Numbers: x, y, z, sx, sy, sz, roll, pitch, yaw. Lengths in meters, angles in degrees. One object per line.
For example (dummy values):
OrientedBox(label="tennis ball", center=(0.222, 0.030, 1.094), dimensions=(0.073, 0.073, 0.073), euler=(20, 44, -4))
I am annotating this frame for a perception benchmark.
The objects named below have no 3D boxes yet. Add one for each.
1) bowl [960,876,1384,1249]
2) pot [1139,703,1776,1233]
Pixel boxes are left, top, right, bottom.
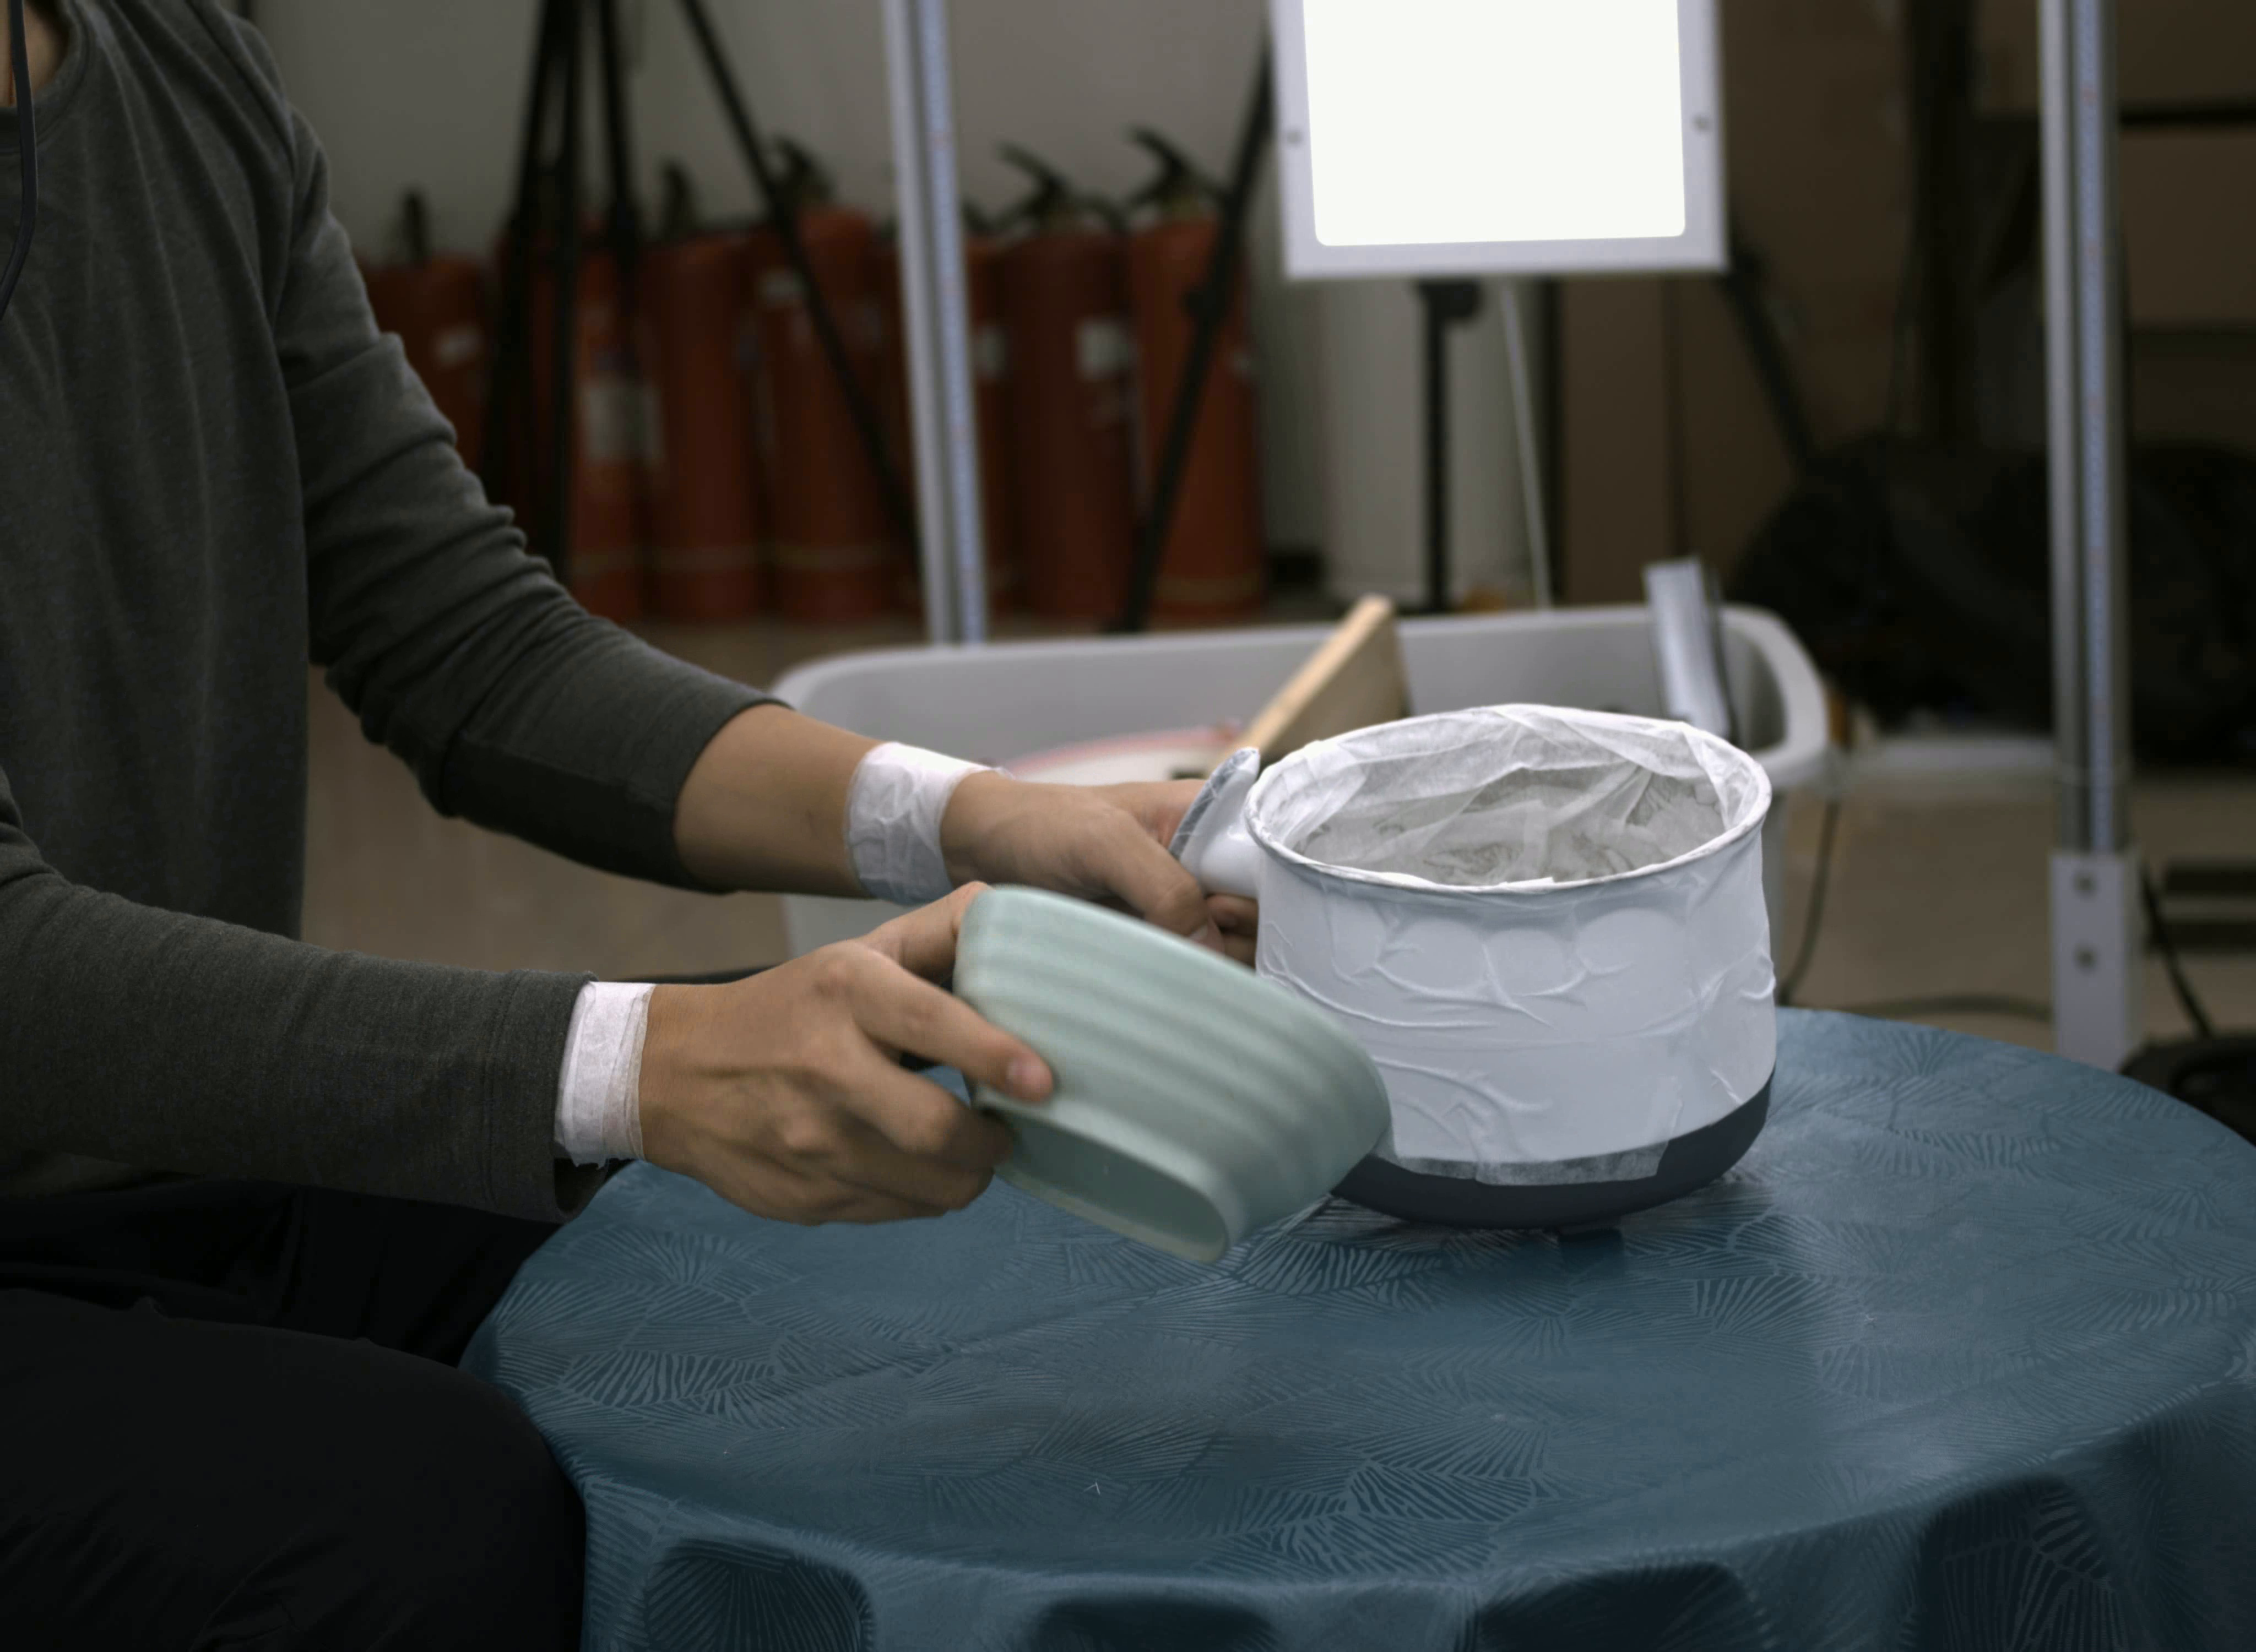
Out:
OrientedBox(label="bowl", center=(0.003, 0.077, 1.629), dimensions=(0.152, 0.058, 0.152), euler=(30, -11, 5))
OrientedBox(label="pot", center=(0.106, 0.045, 1.869), dimensions=(0.238, 0.137, 0.175), euler=(7, 22, 28))
